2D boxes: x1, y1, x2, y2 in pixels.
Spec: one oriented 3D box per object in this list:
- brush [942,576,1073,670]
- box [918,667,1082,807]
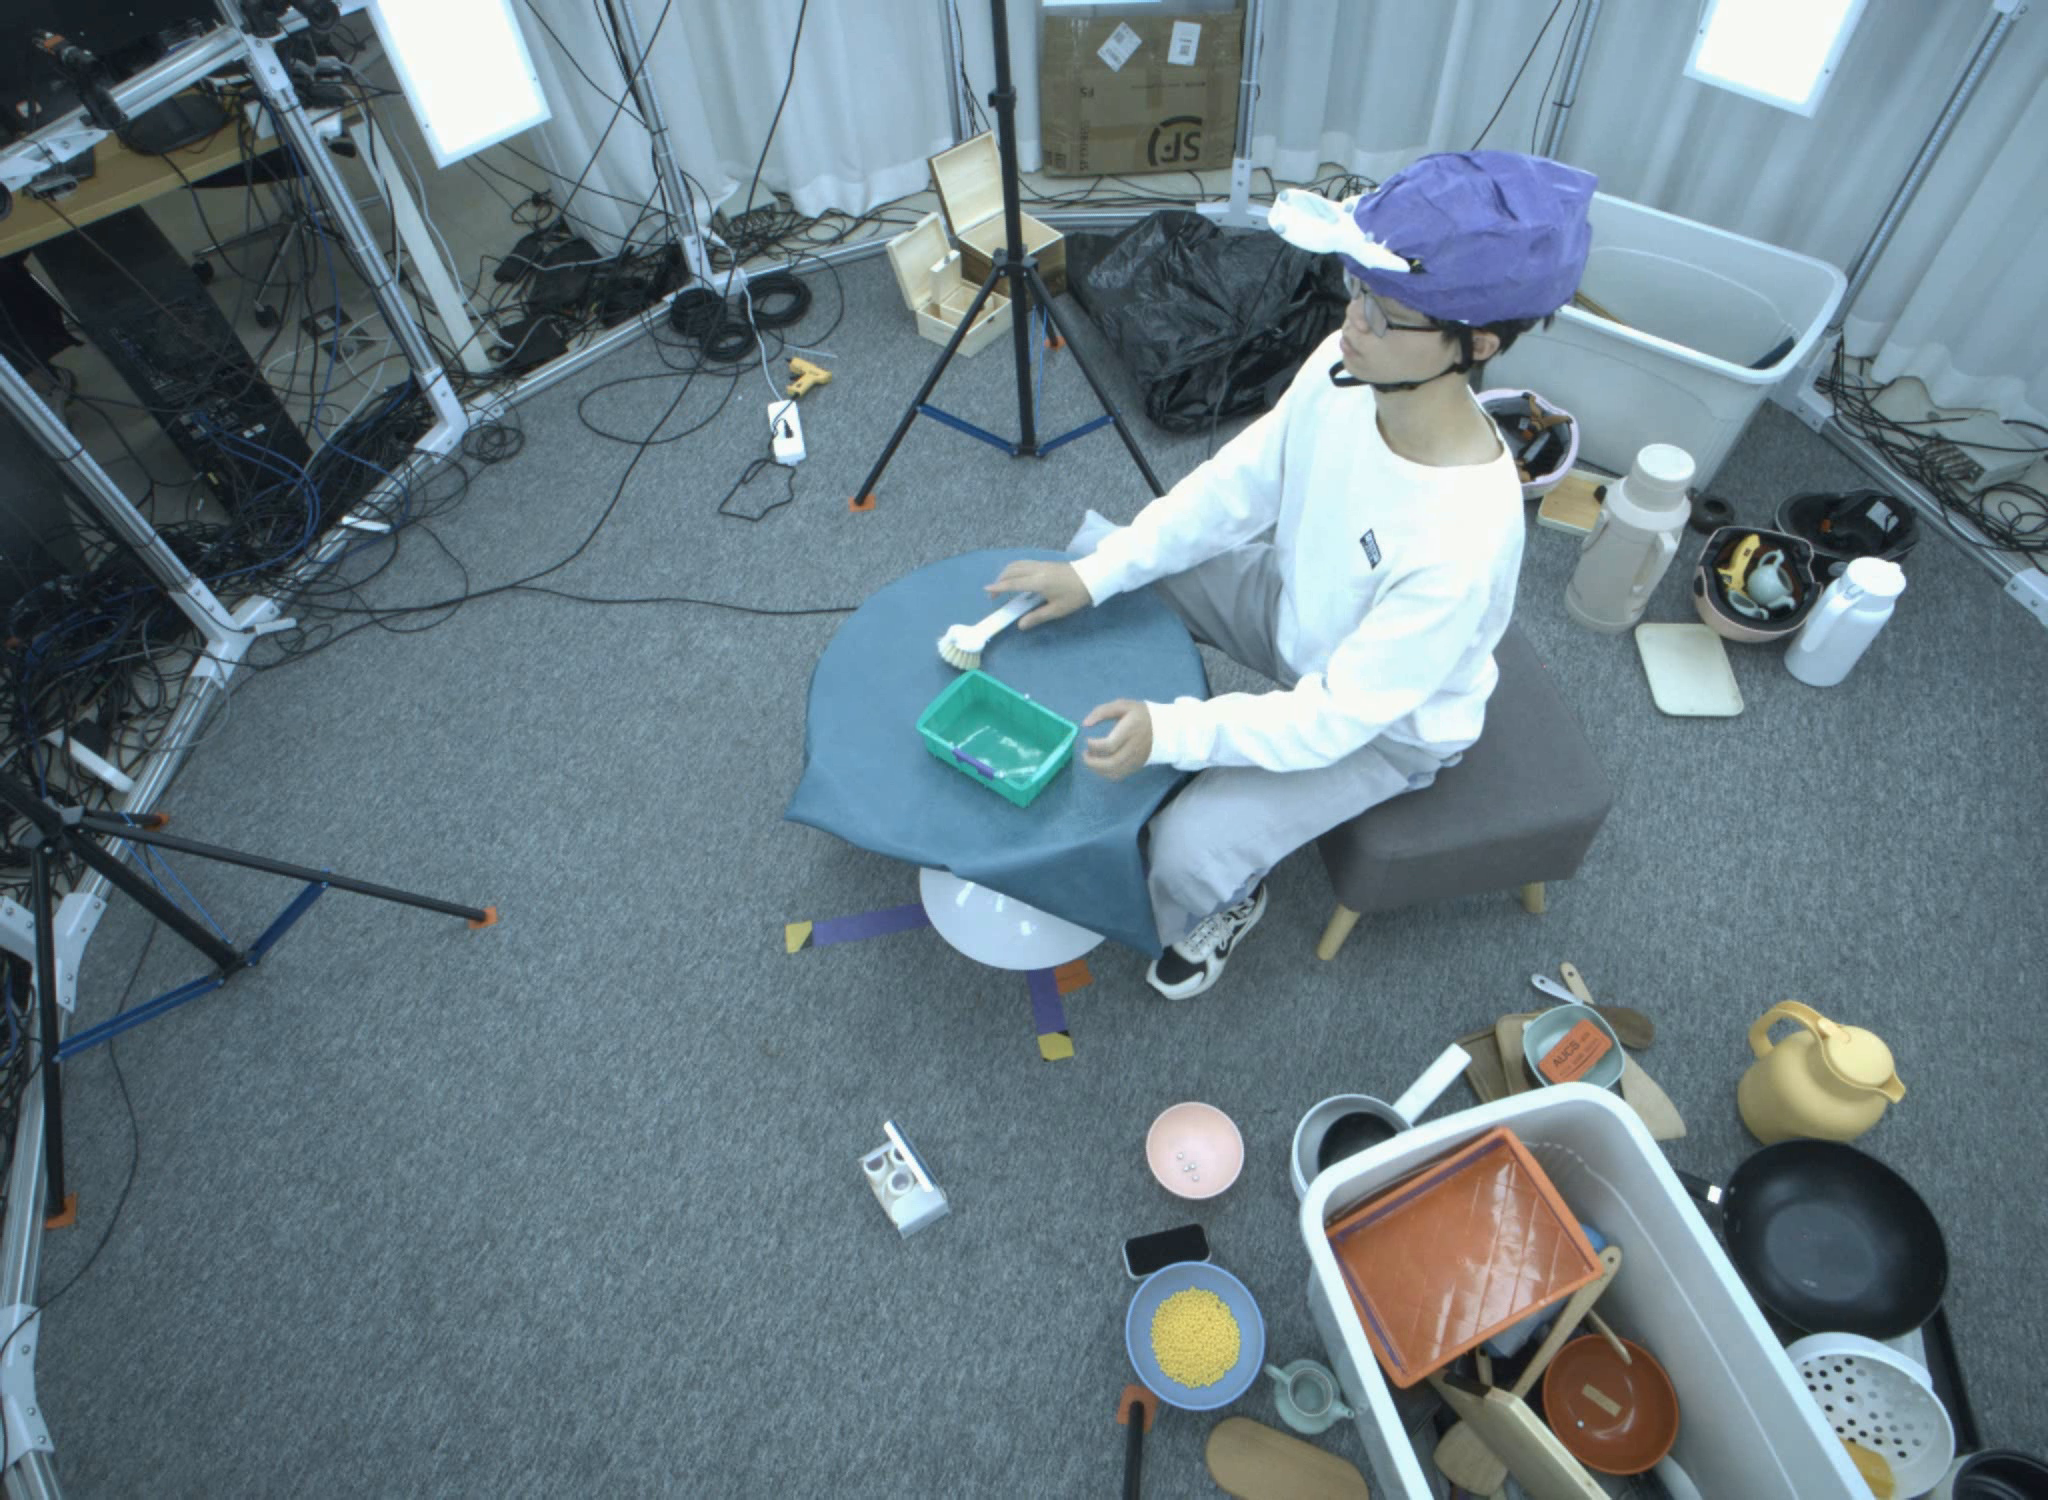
[{"bbox_3d":[-0.022,-0.203,1.923,0.269,0.056,0.068,-34,81,-38],"label":"brush"},{"bbox_3d":[-0.033,-0.016,1.758,0.207,0.066,0.139,31,61,19],"label":"box"}]
